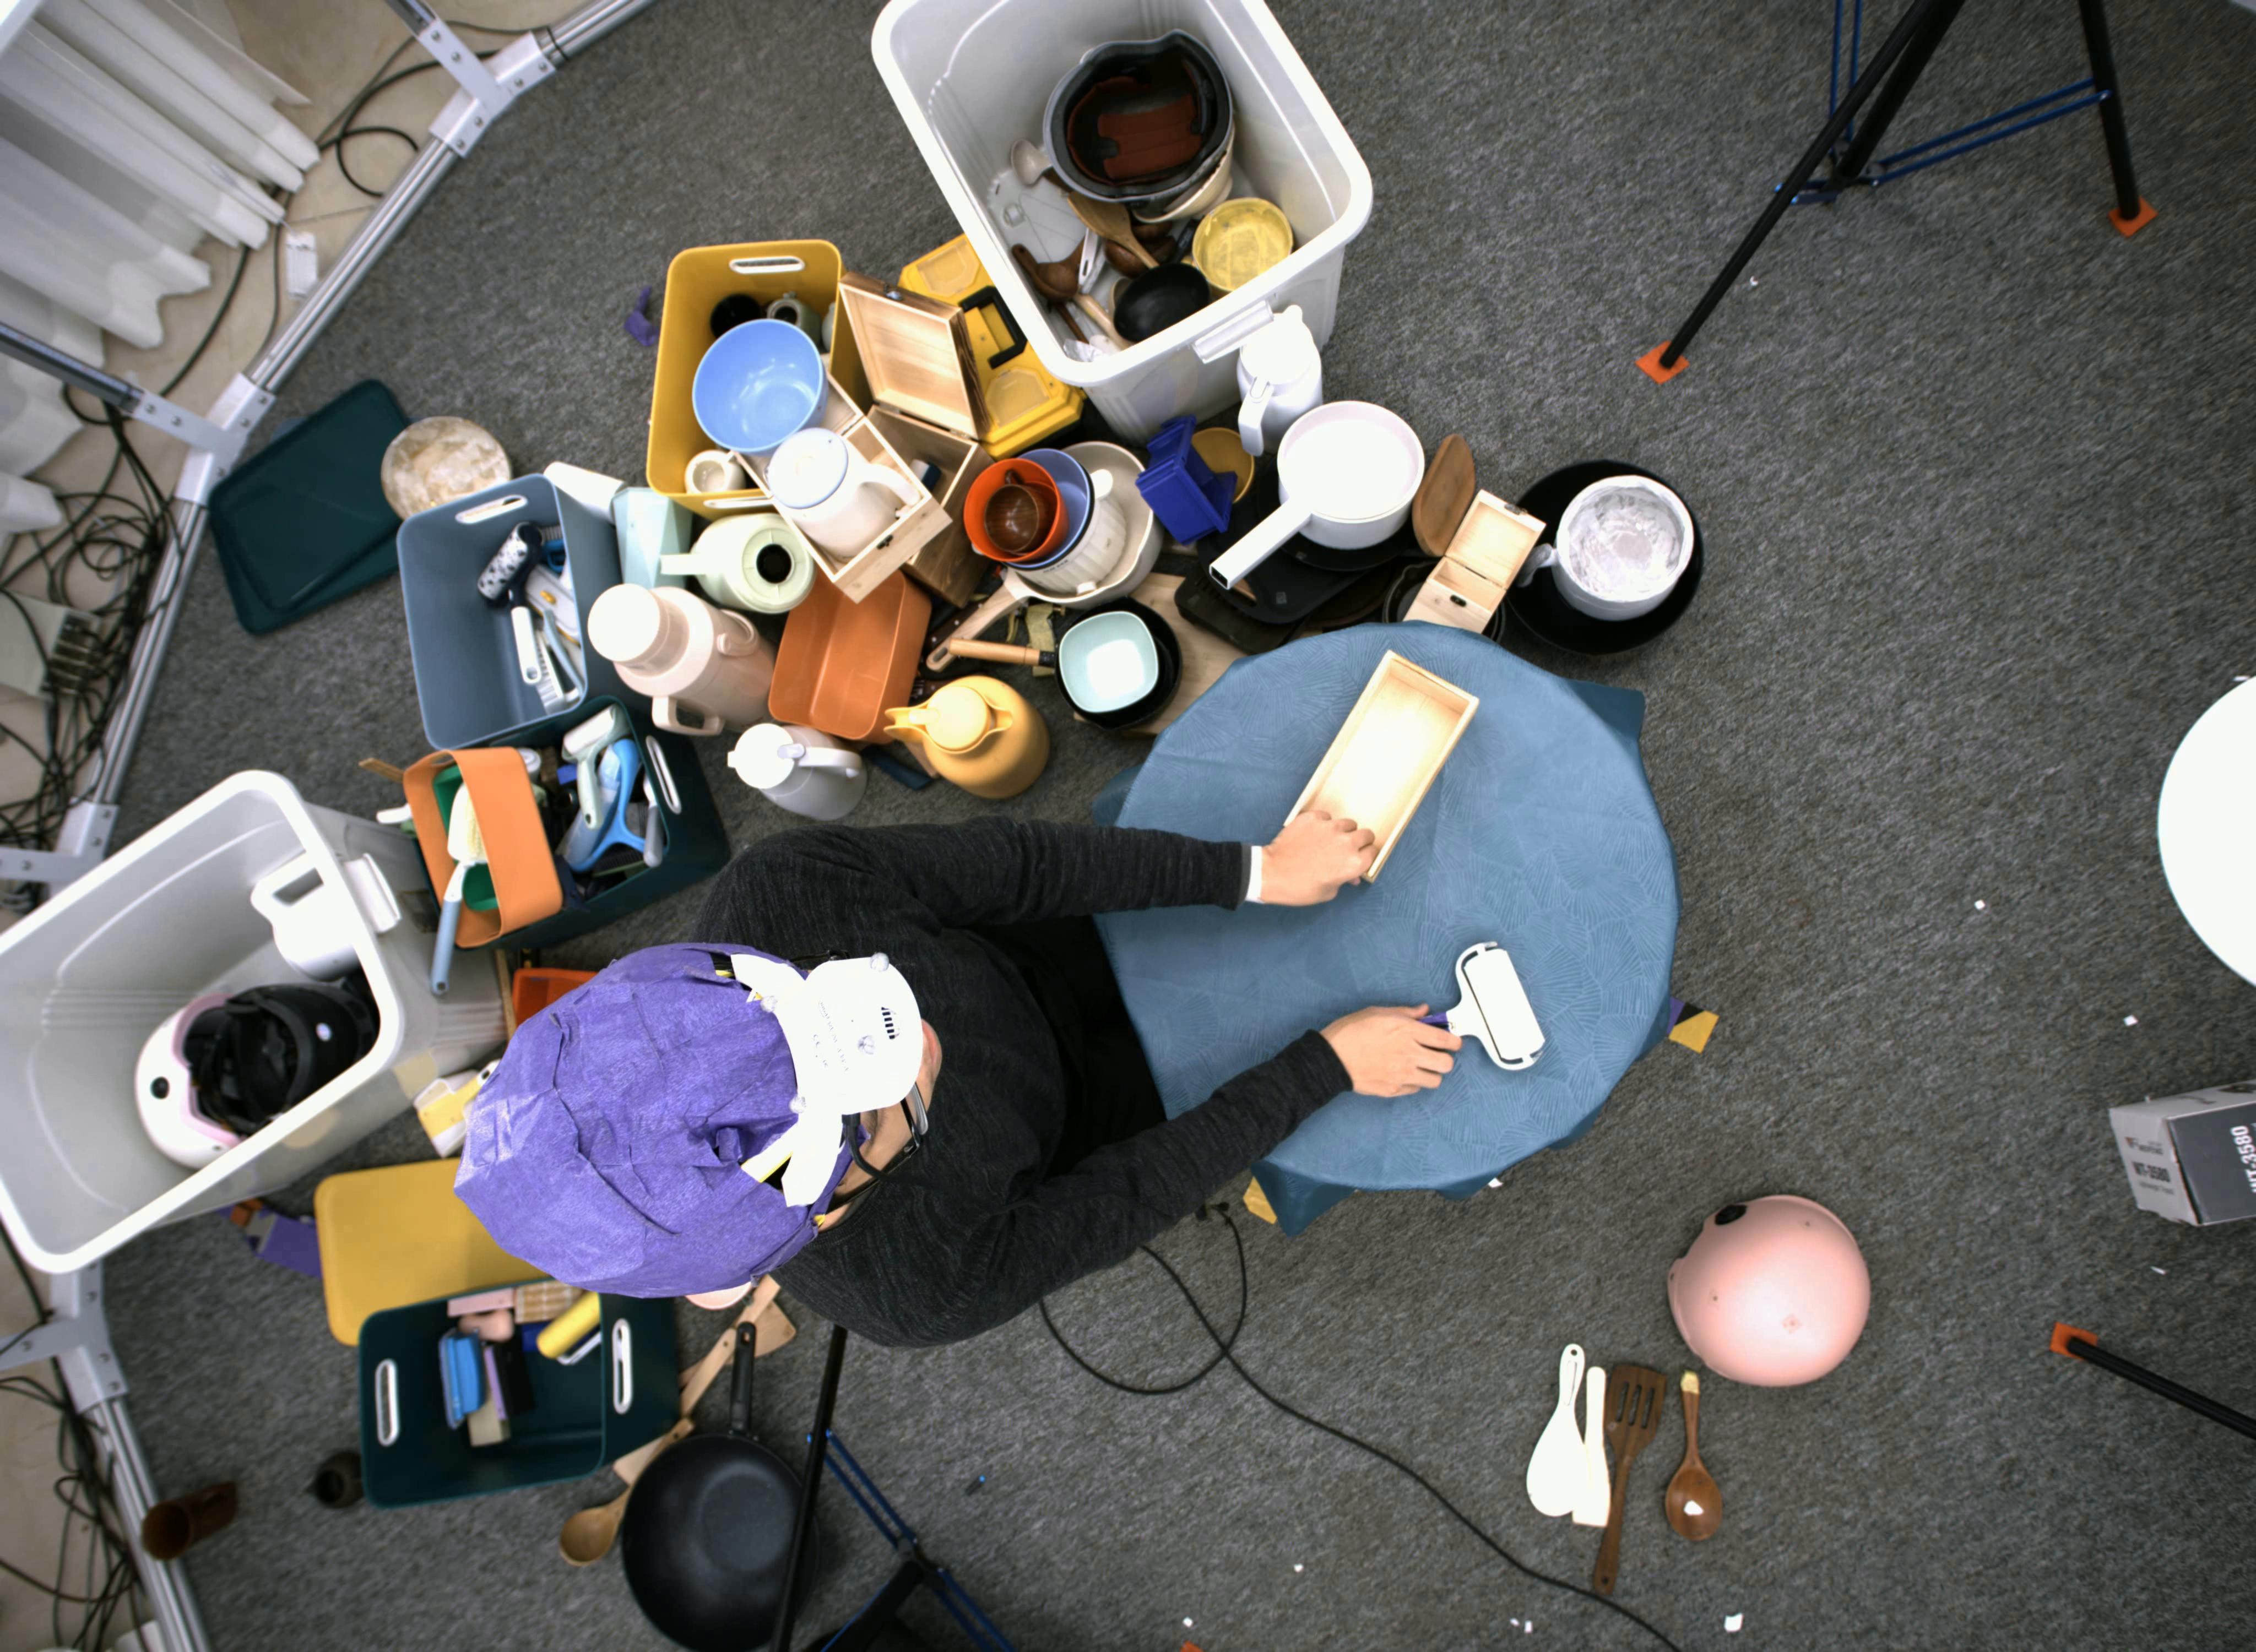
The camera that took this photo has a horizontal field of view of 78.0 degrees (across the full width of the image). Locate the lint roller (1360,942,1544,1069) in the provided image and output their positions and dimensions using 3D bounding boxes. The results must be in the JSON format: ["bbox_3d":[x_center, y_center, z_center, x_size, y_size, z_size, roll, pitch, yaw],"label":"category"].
[{"bbox_3d":[0.323,0.203,1.418,0.181,0.050,0.132,-20,85,6],"label":"lint roller"}]

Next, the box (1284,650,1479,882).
[{"bbox_3d":[0.262,-0.062,1.429,0.107,0.080,0.212,30,93,11],"label":"box"}]
